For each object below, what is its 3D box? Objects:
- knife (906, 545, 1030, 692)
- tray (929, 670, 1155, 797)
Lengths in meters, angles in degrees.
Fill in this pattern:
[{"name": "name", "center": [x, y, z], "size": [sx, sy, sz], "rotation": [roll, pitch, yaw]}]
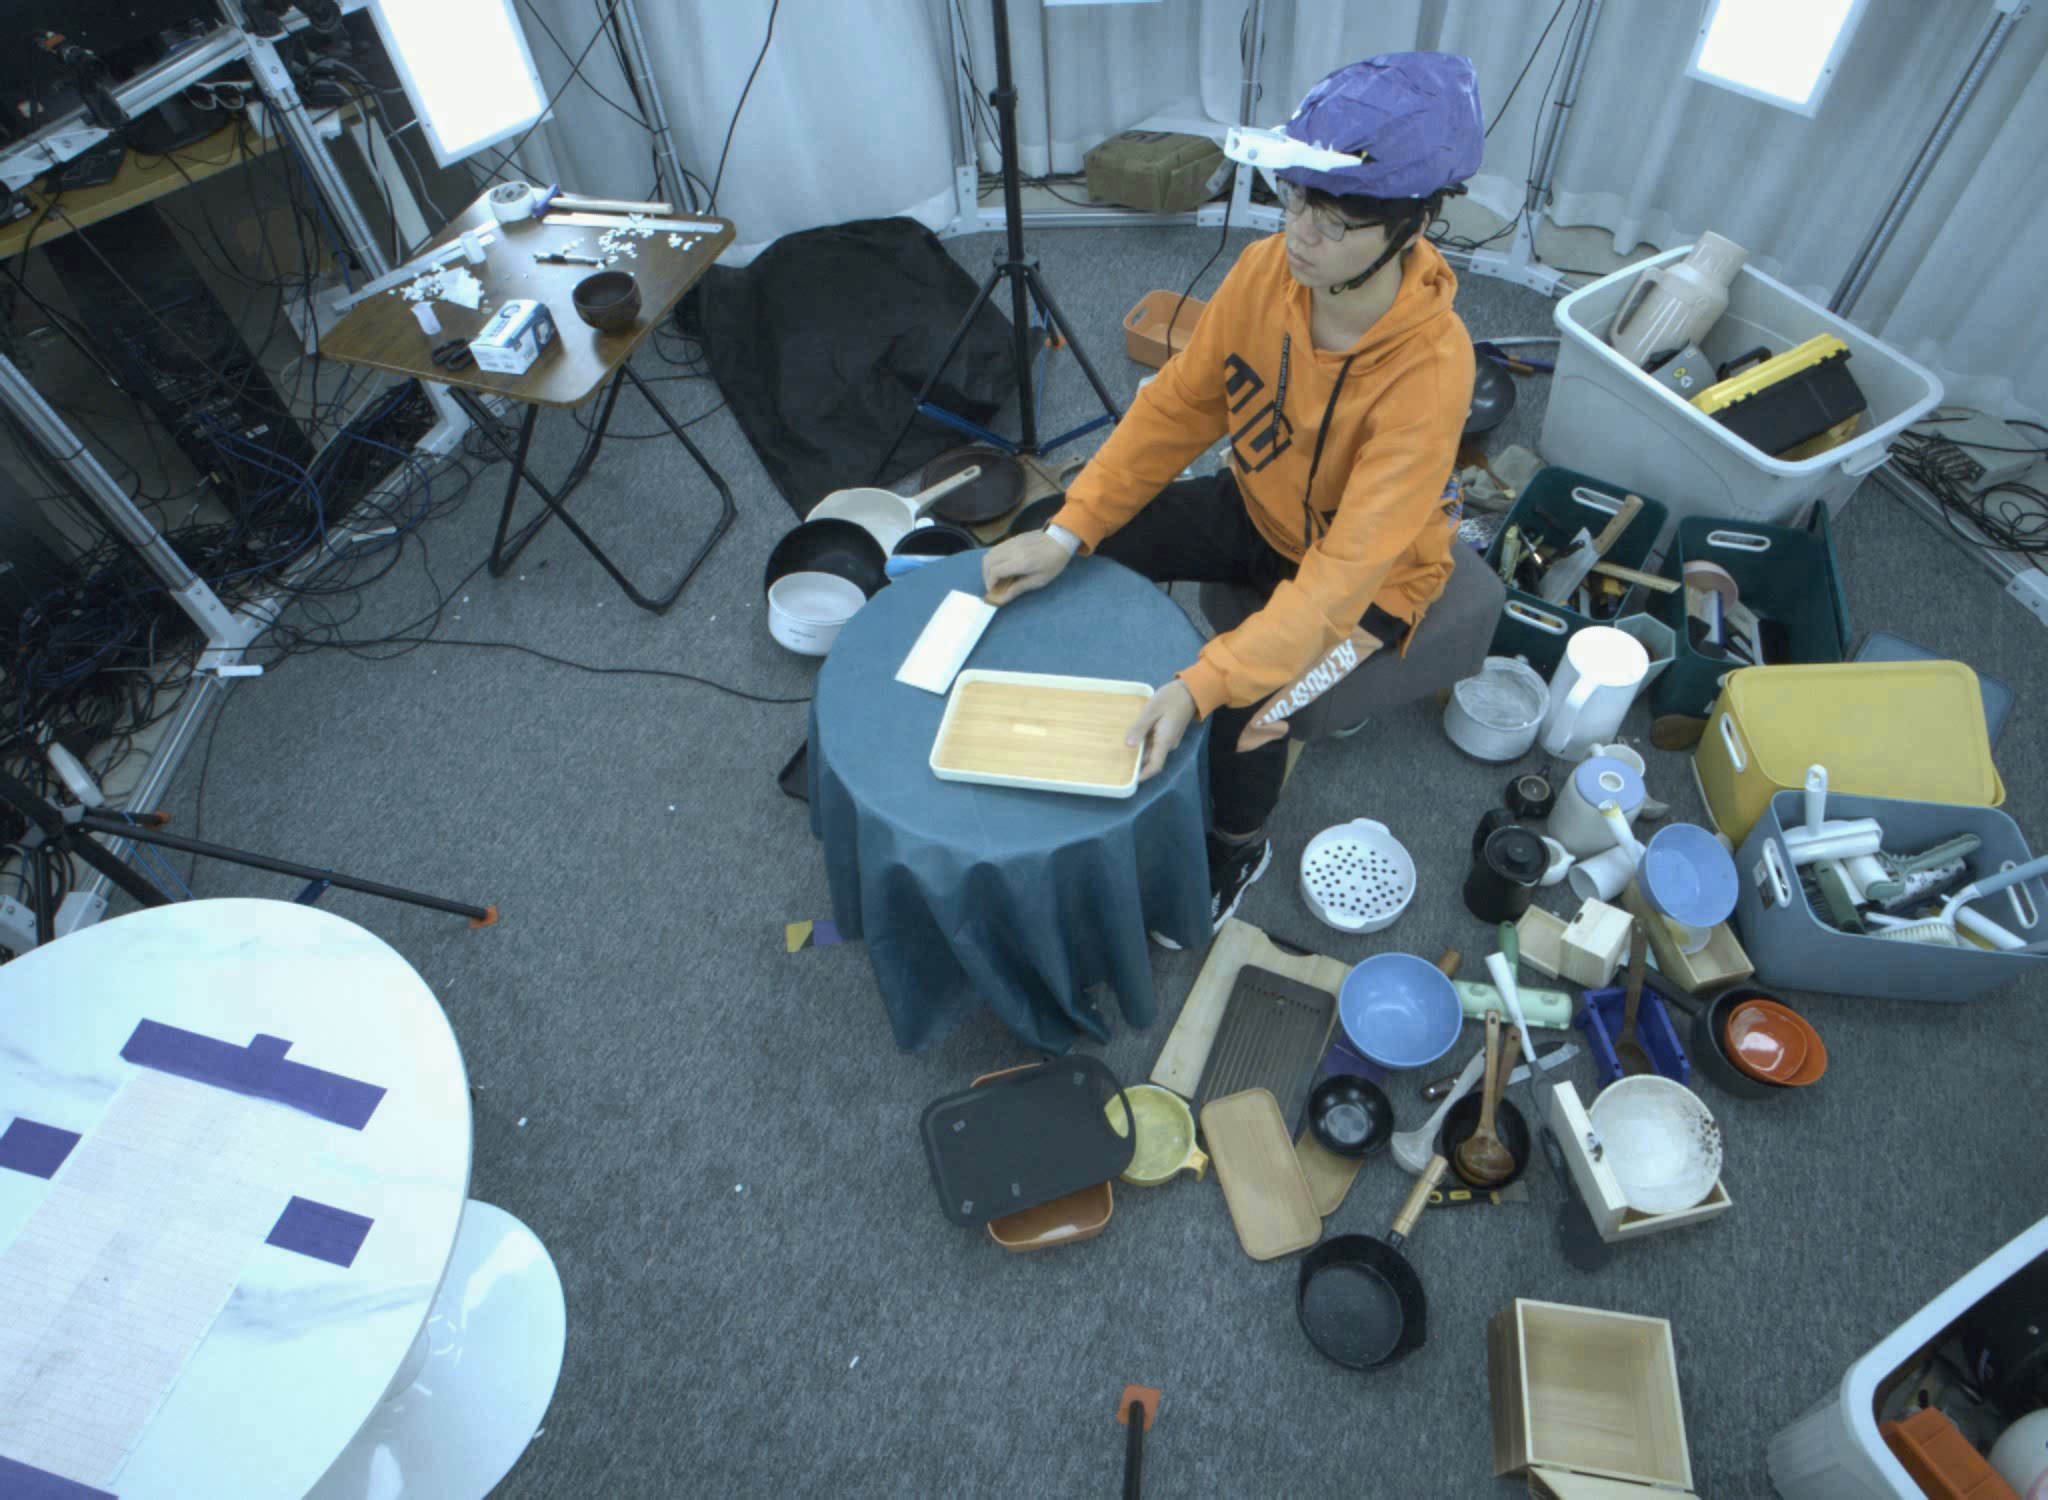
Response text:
[{"name": "knife", "center": [-0.091, -0.215, 1.922], "size": [0.091, 0.021, 0.306], "rotation": [18, 62, 21]}, {"name": "tray", "center": [0.028, -0.027, 1.772], "size": [0.297, 0.028, 0.190], "rotation": [6, 55, 13]}]
